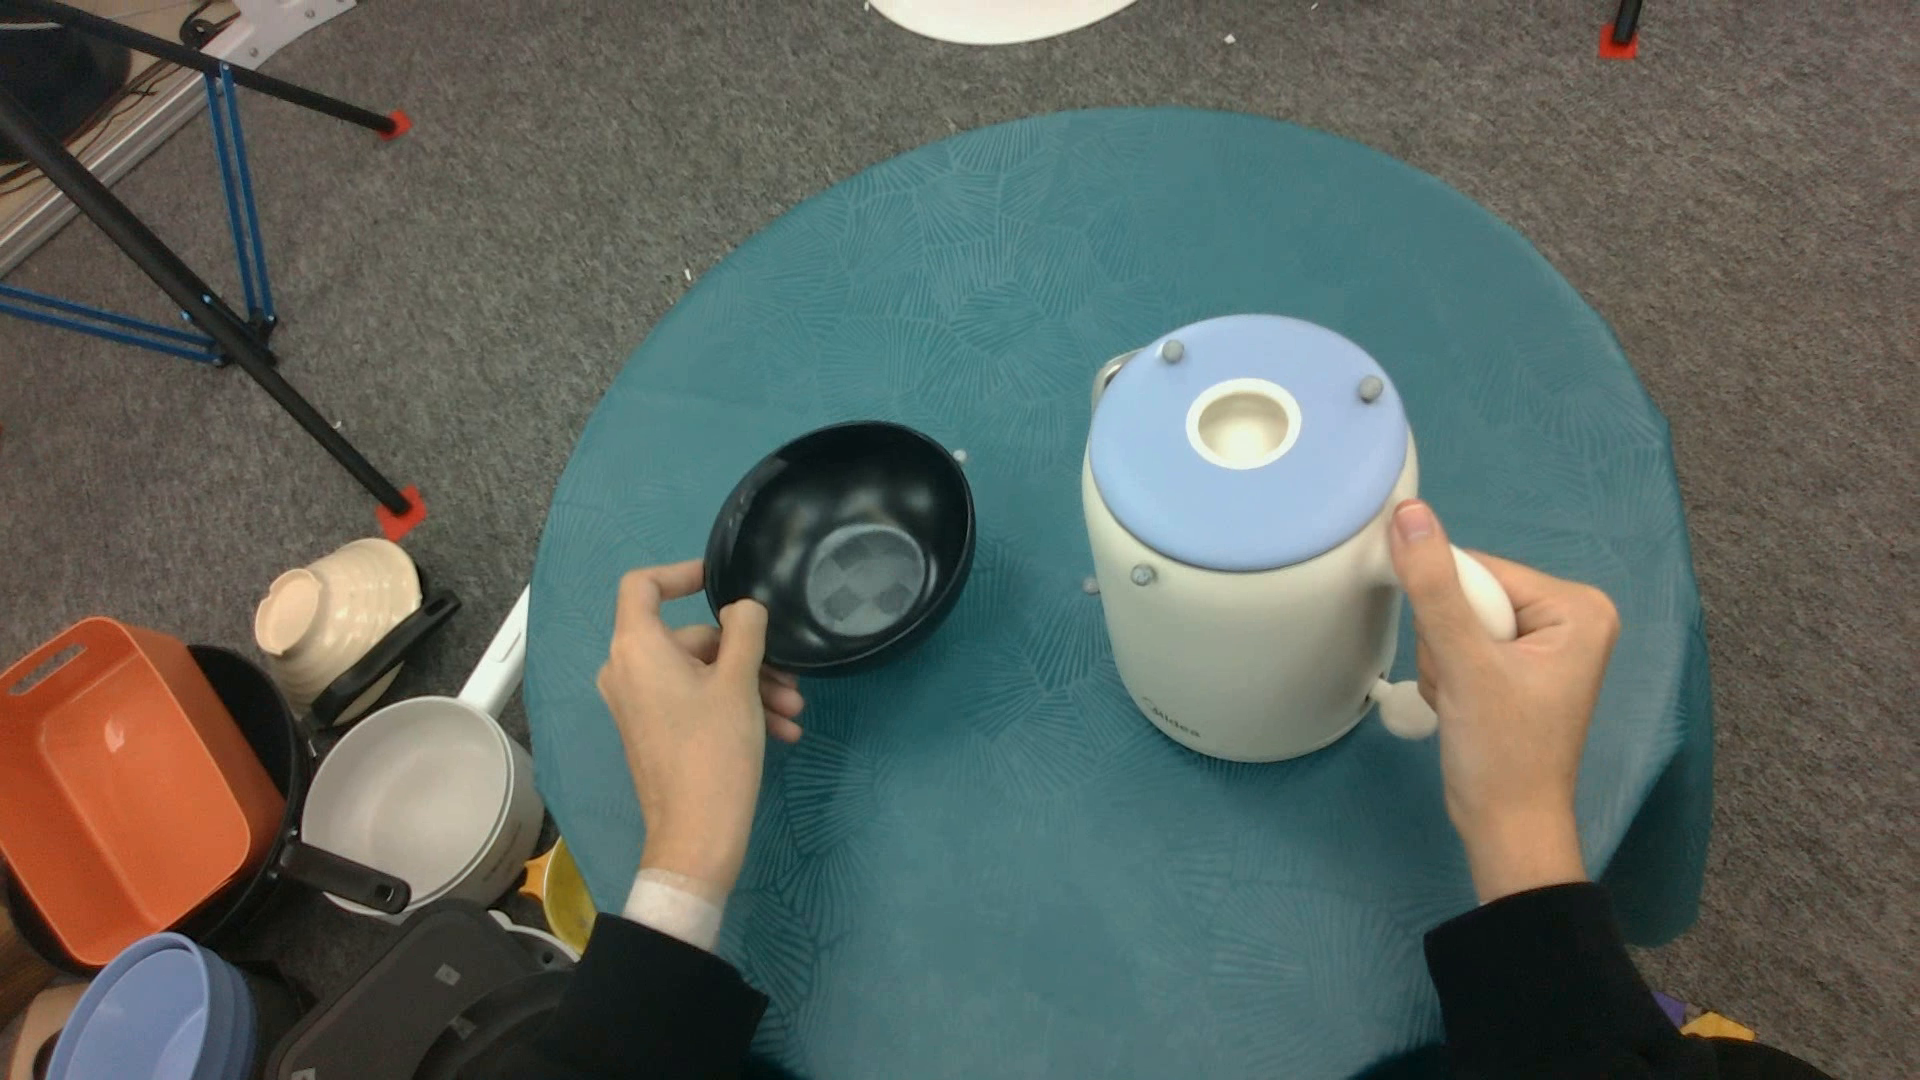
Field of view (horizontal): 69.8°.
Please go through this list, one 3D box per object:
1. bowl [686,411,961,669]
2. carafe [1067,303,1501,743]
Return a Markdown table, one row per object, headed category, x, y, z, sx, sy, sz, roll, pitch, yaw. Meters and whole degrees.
| category | x | y | z | sx | sy | sz | roll | pitch | yaw |
| --- | --- | --- | --- | --- | --- | --- | --- | --- | --- |
| bowl | -0.062 | 0.006 | 0.680 | 0.140 | 0.049 | 0.140 | -7 | 59 | 12 |
| carafe | 0.136 | 0.009 | 0.587 | 0.191 | 0.182 | 0.132 | 30 | 69 | 24 |
